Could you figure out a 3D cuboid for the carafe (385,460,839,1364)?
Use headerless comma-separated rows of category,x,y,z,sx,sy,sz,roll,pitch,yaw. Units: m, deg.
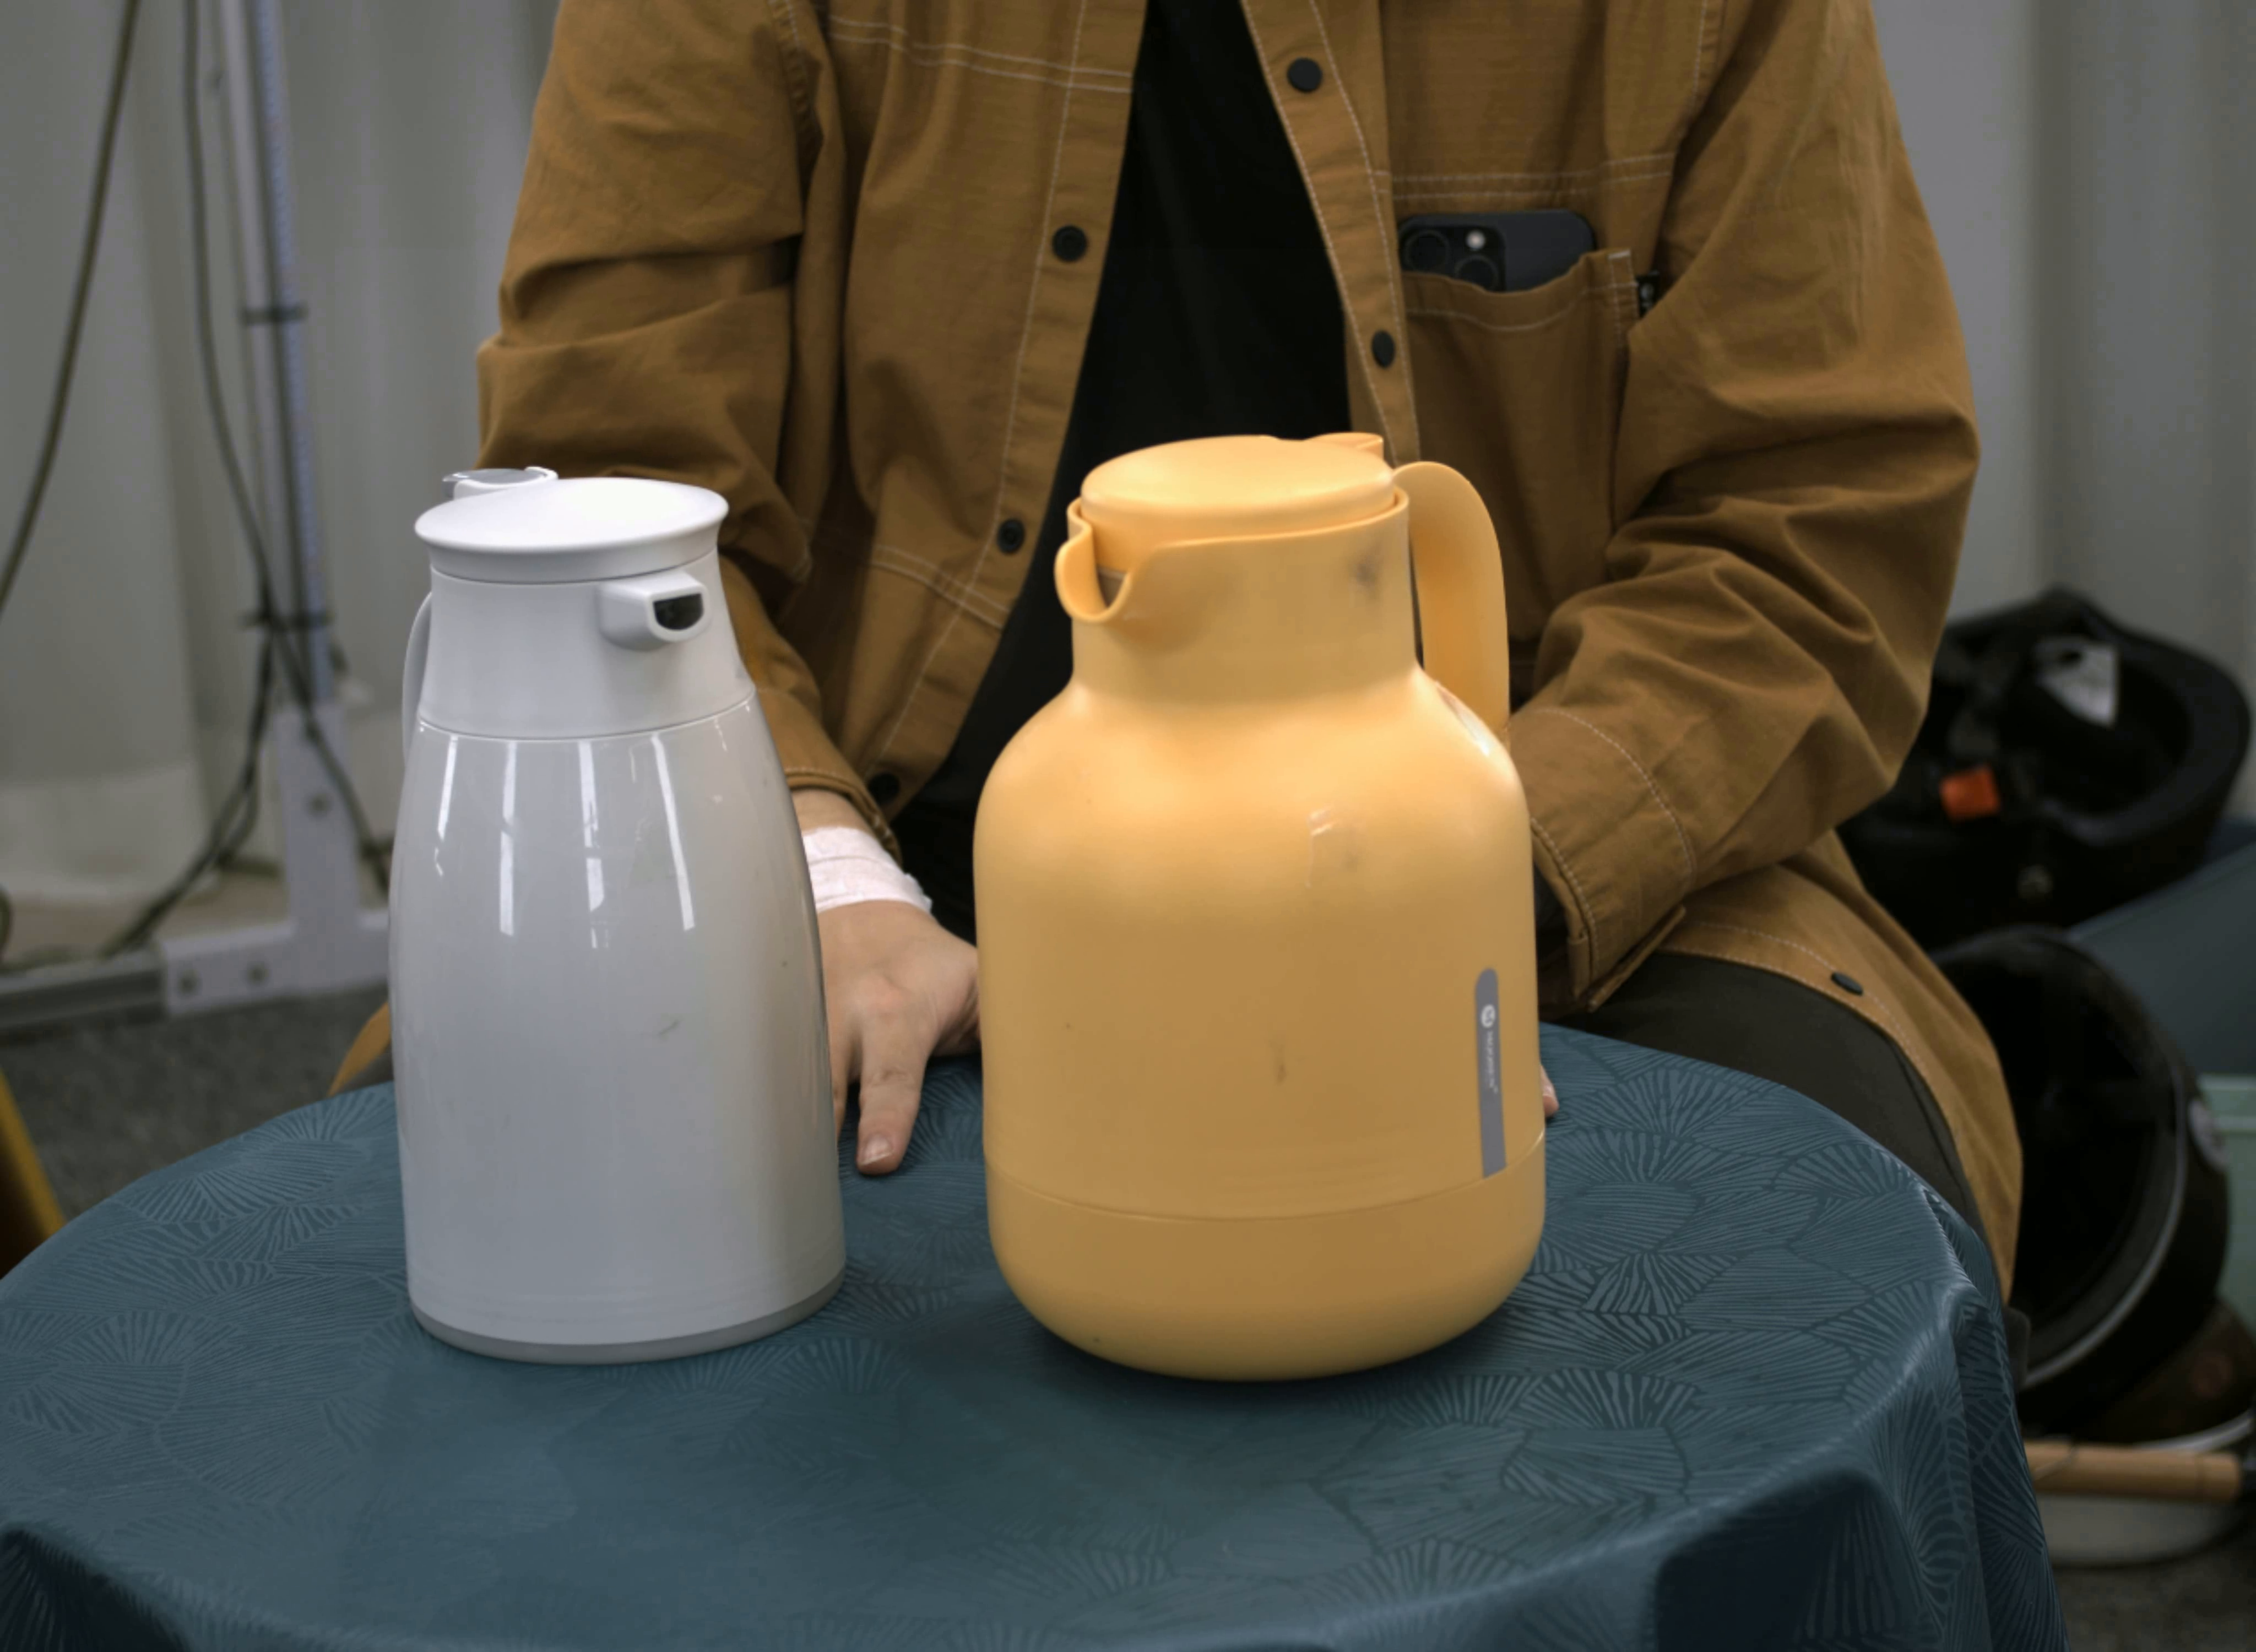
carafe,-0.168,0.017,1.634,0.132,0.248,0.169,-11,16,-33

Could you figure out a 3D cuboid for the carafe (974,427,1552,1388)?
carafe,0.050,0.015,1.579,0.164,0.259,0.202,10,20,37
